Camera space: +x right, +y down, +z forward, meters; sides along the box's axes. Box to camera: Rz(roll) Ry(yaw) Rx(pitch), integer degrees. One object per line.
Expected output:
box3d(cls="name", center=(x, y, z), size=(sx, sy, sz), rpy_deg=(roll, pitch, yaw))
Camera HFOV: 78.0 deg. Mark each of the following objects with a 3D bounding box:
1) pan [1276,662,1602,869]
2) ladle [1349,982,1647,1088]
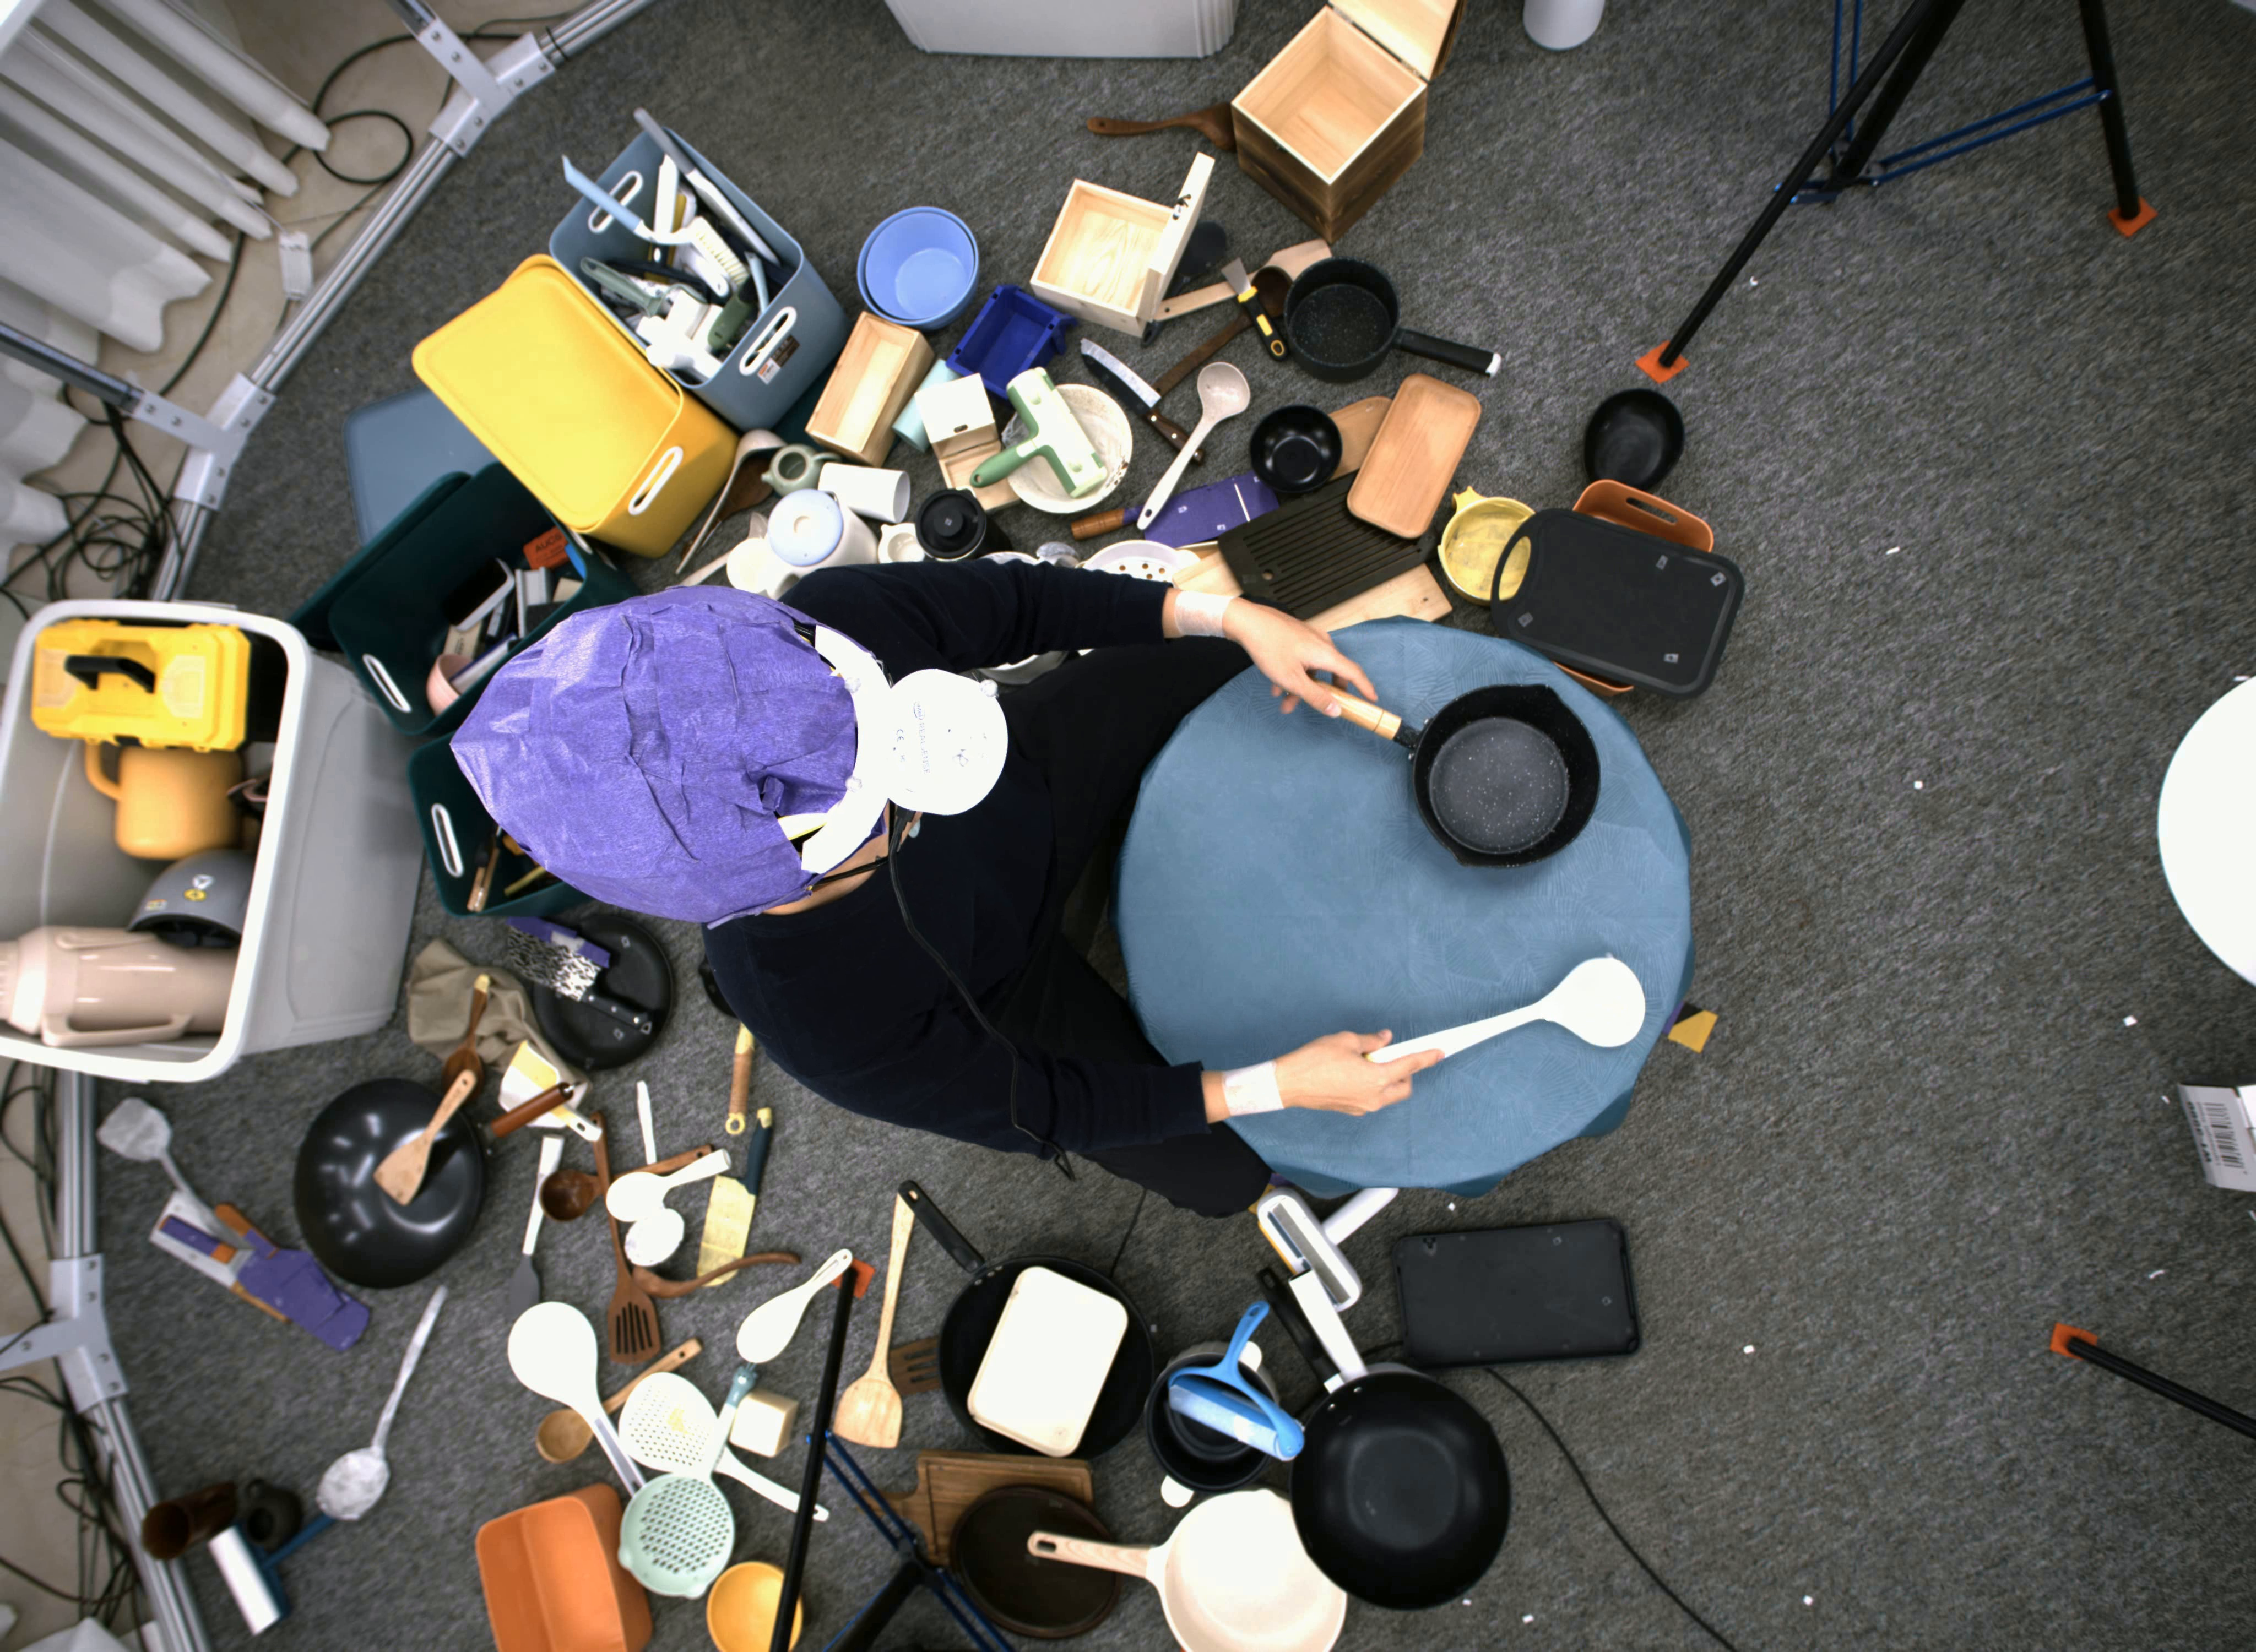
box3d(cls="pan", center=(0.309, -0.081, 1.406), size=(0.342, 0.108, 0.208), rpy_deg=(24, 92, 9))
box3d(cls="ladle", center=(0.368, 0.215, 1.371), size=(0.292, 0.069, 0.092), rpy_deg=(-14, 118, -10))
